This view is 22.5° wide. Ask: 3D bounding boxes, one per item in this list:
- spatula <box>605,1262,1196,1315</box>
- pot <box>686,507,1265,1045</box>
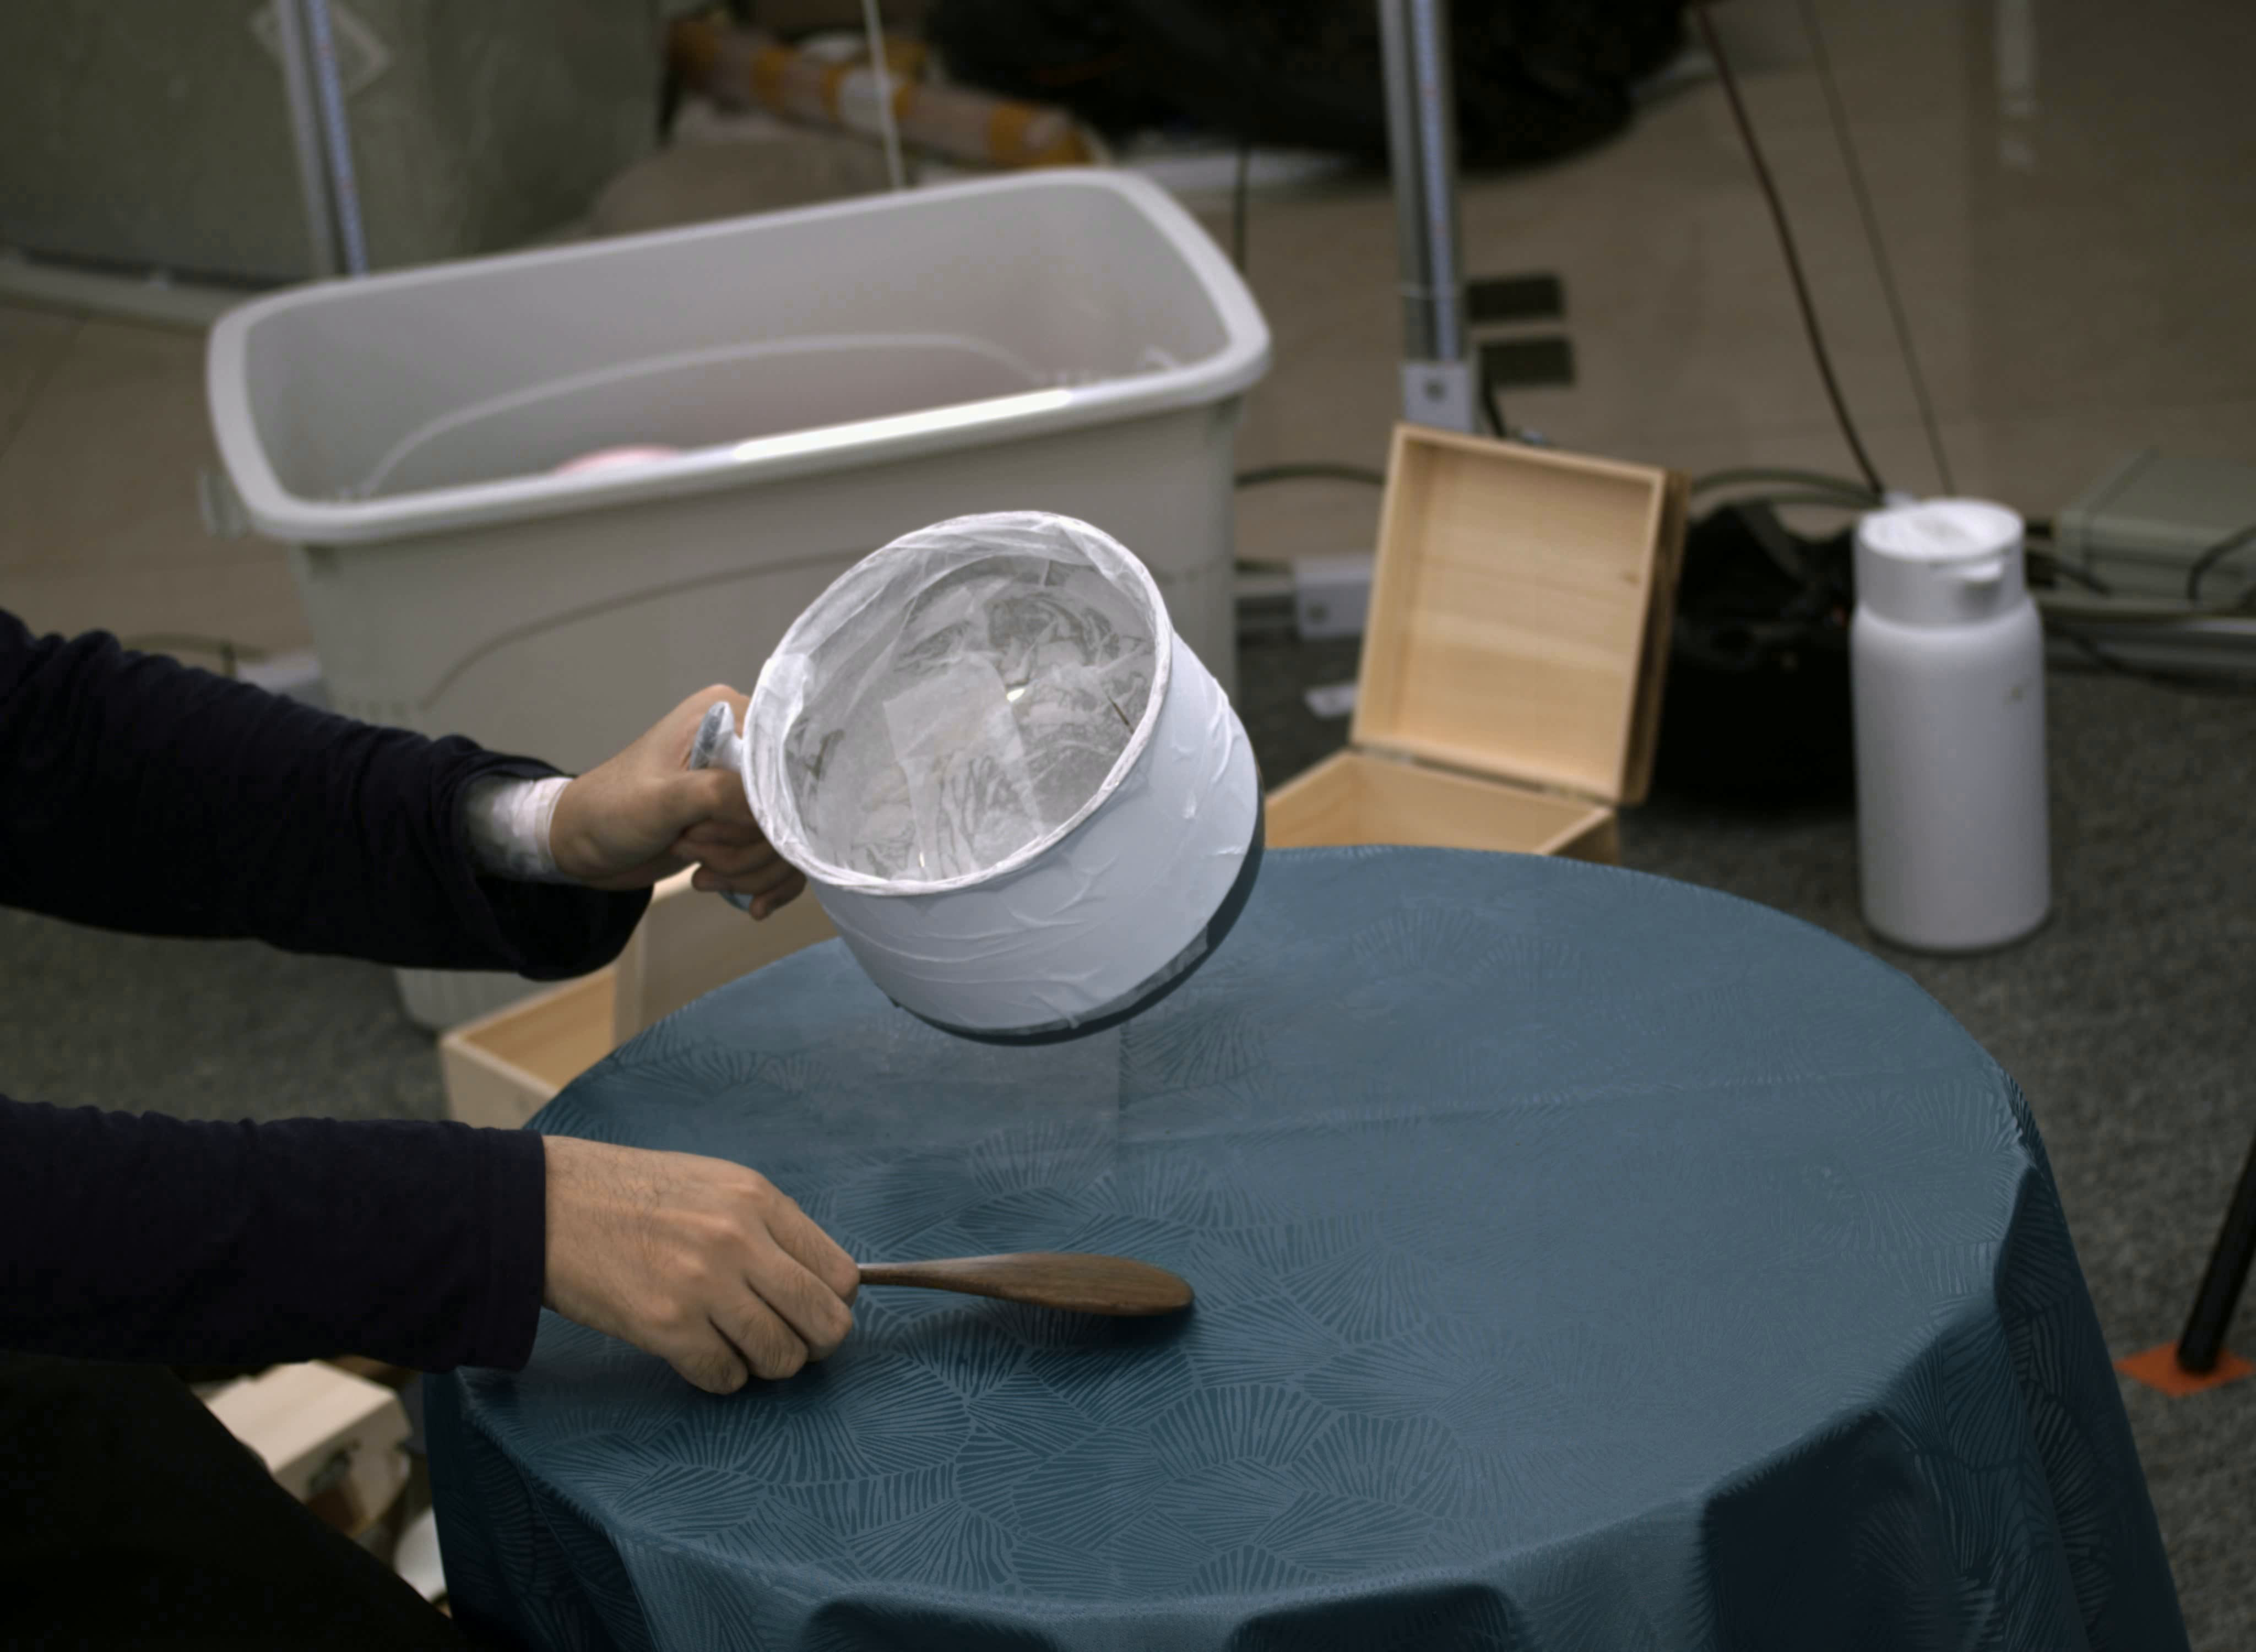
[{"bbox_3d":[-0.083,0.167,2.066,0.215,0.009,0.071,1,7,3],"label":"spatula"},{"bbox_3d":[-0.069,-0.012,2.198,0.233,0.139,0.176,-5,53,21],"label":"pot"}]
